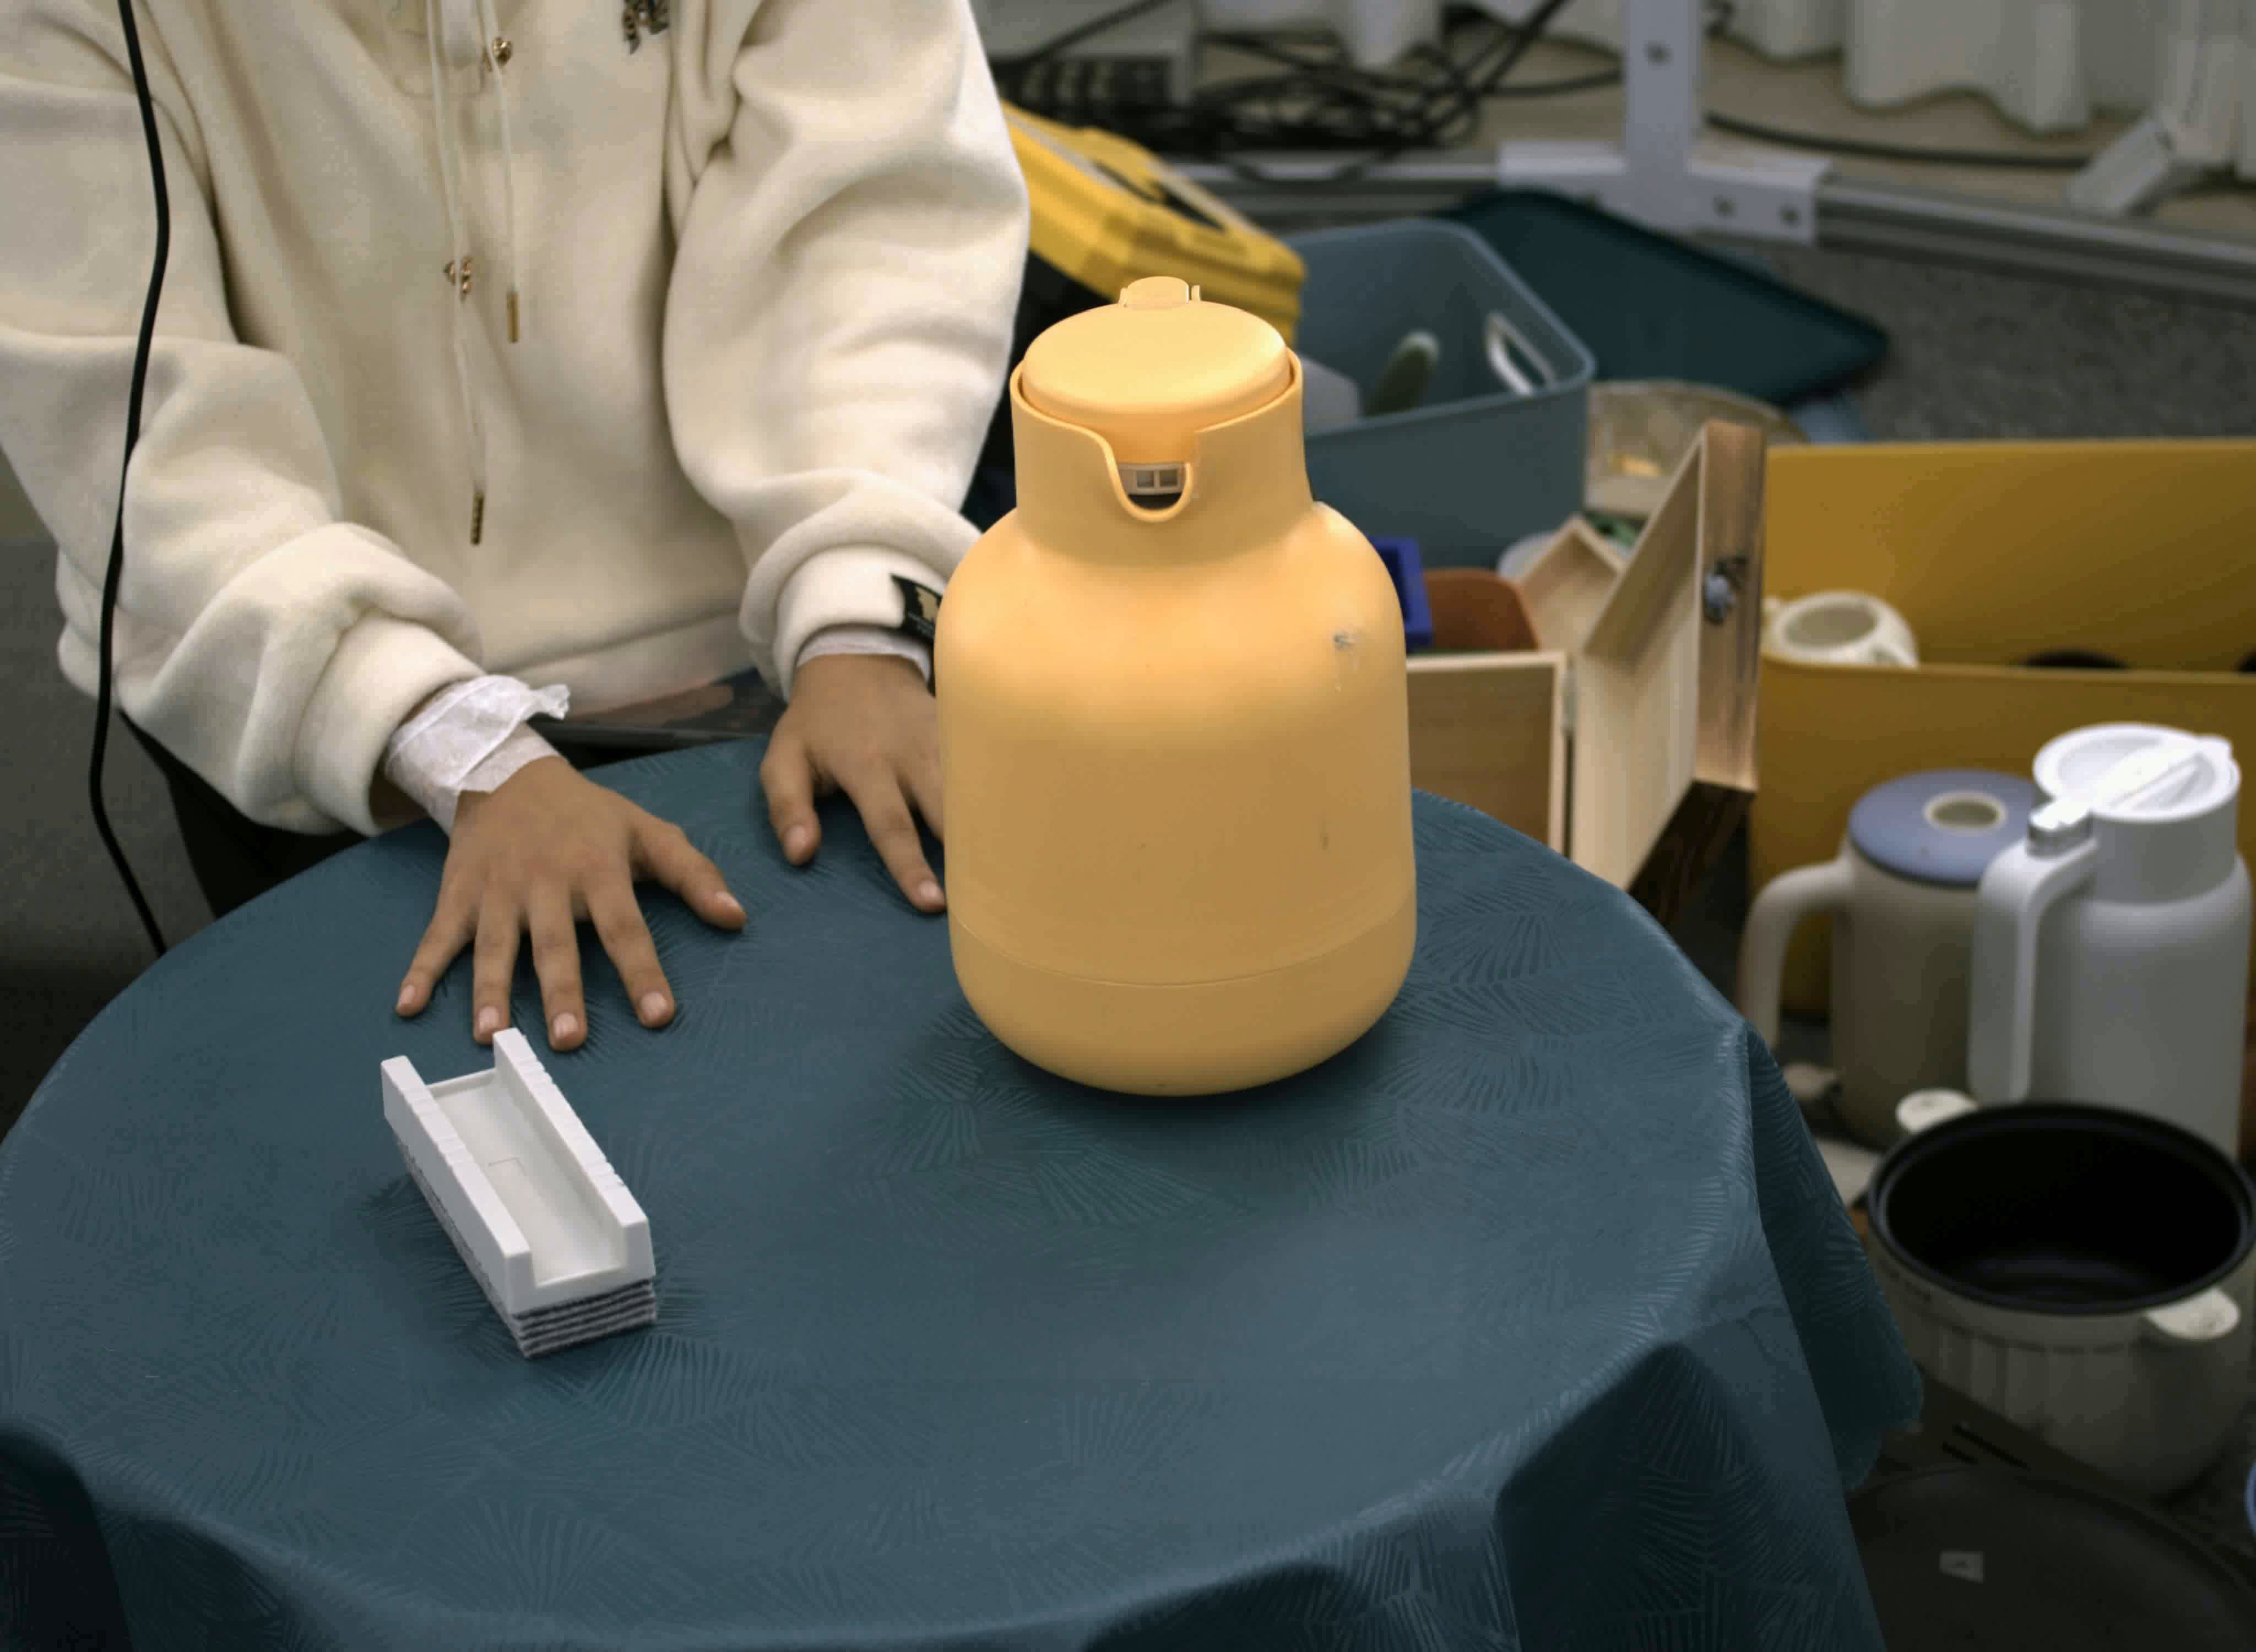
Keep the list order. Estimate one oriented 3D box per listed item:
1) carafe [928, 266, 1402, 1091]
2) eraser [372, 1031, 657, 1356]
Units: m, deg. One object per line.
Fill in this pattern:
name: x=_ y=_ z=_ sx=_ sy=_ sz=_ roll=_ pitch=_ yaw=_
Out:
carafe: x=0.015 y=-0.060 z=1.925 sx=0.162 sy=0.257 sz=0.206 roll=2 pitch=28 yaw=2
eraser: x=-0.201 y=0.120 z=1.835 sx=0.050 sy=0.046 sz=0.135 roll=-18 pitch=31 yaw=-20
